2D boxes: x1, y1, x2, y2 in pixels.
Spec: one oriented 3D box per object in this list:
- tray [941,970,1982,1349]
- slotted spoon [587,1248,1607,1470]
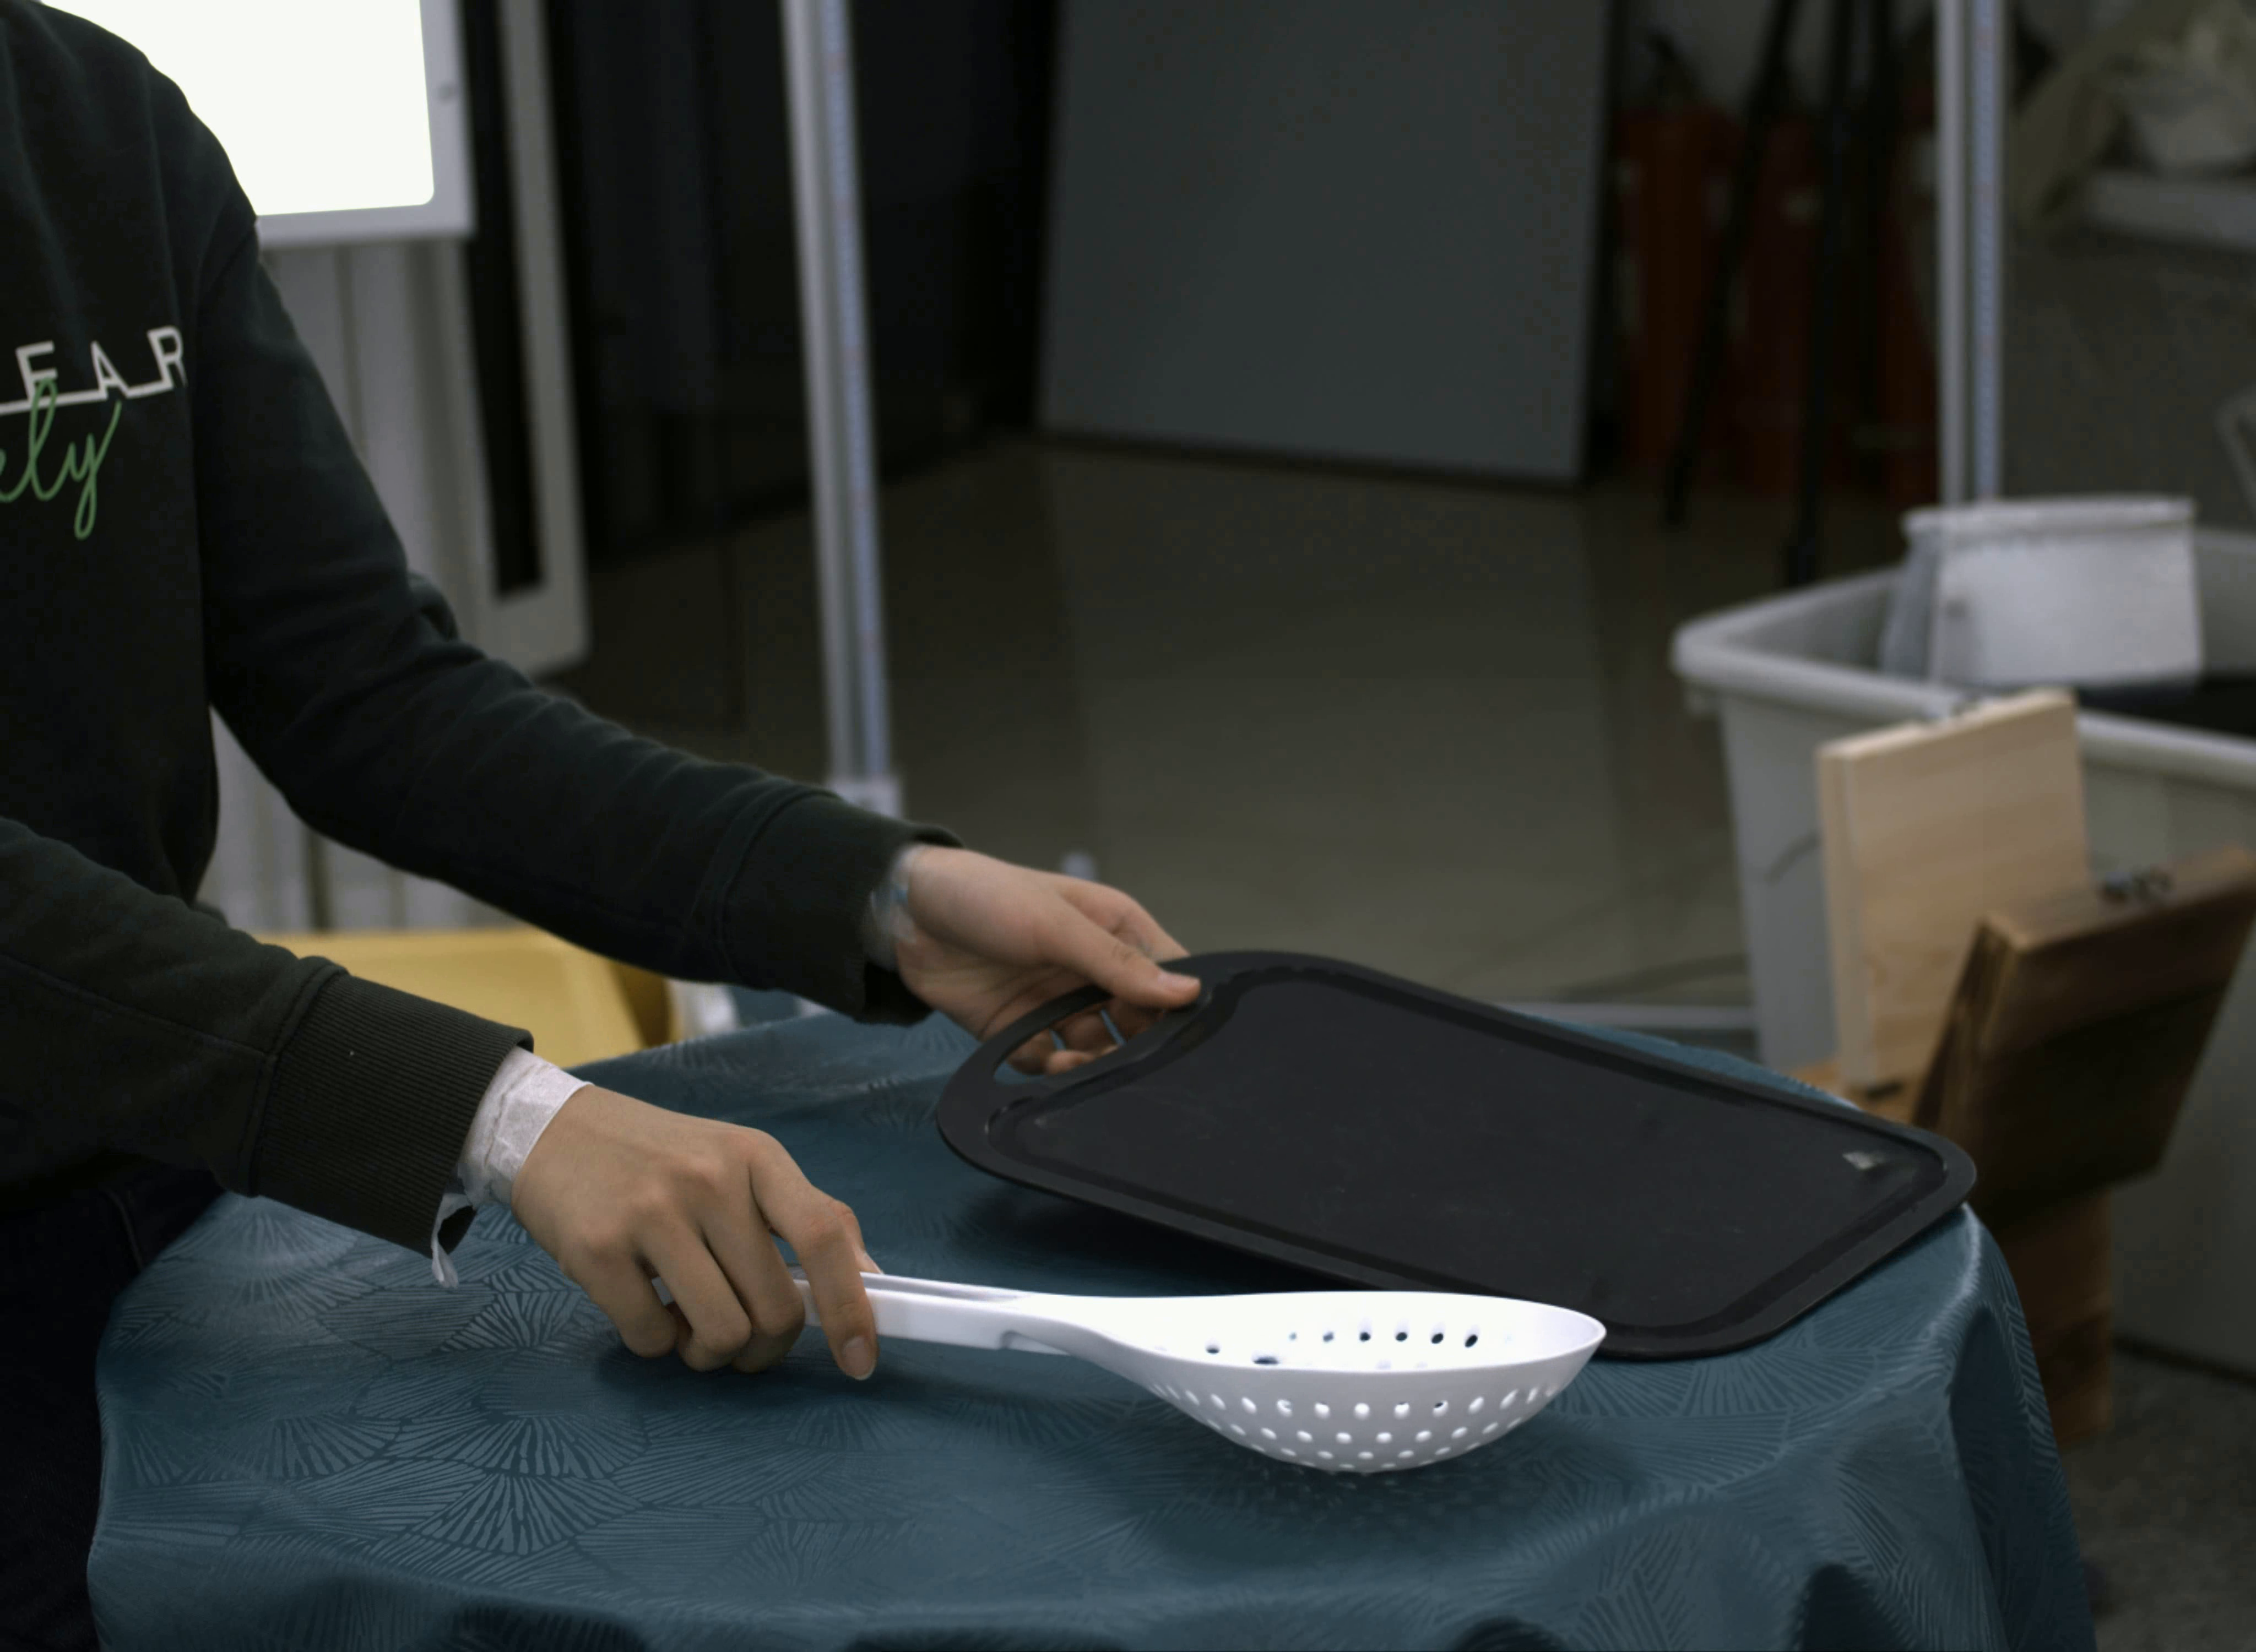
[{"bbox_3d":[0.099,0.100,1.731,0.327,0.010,0.207,14,23,34],"label":"tray"},{"bbox_3d":[-0.020,0.144,1.570,0.352,0.046,0.133,8,7,36],"label":"slotted spoon"}]
